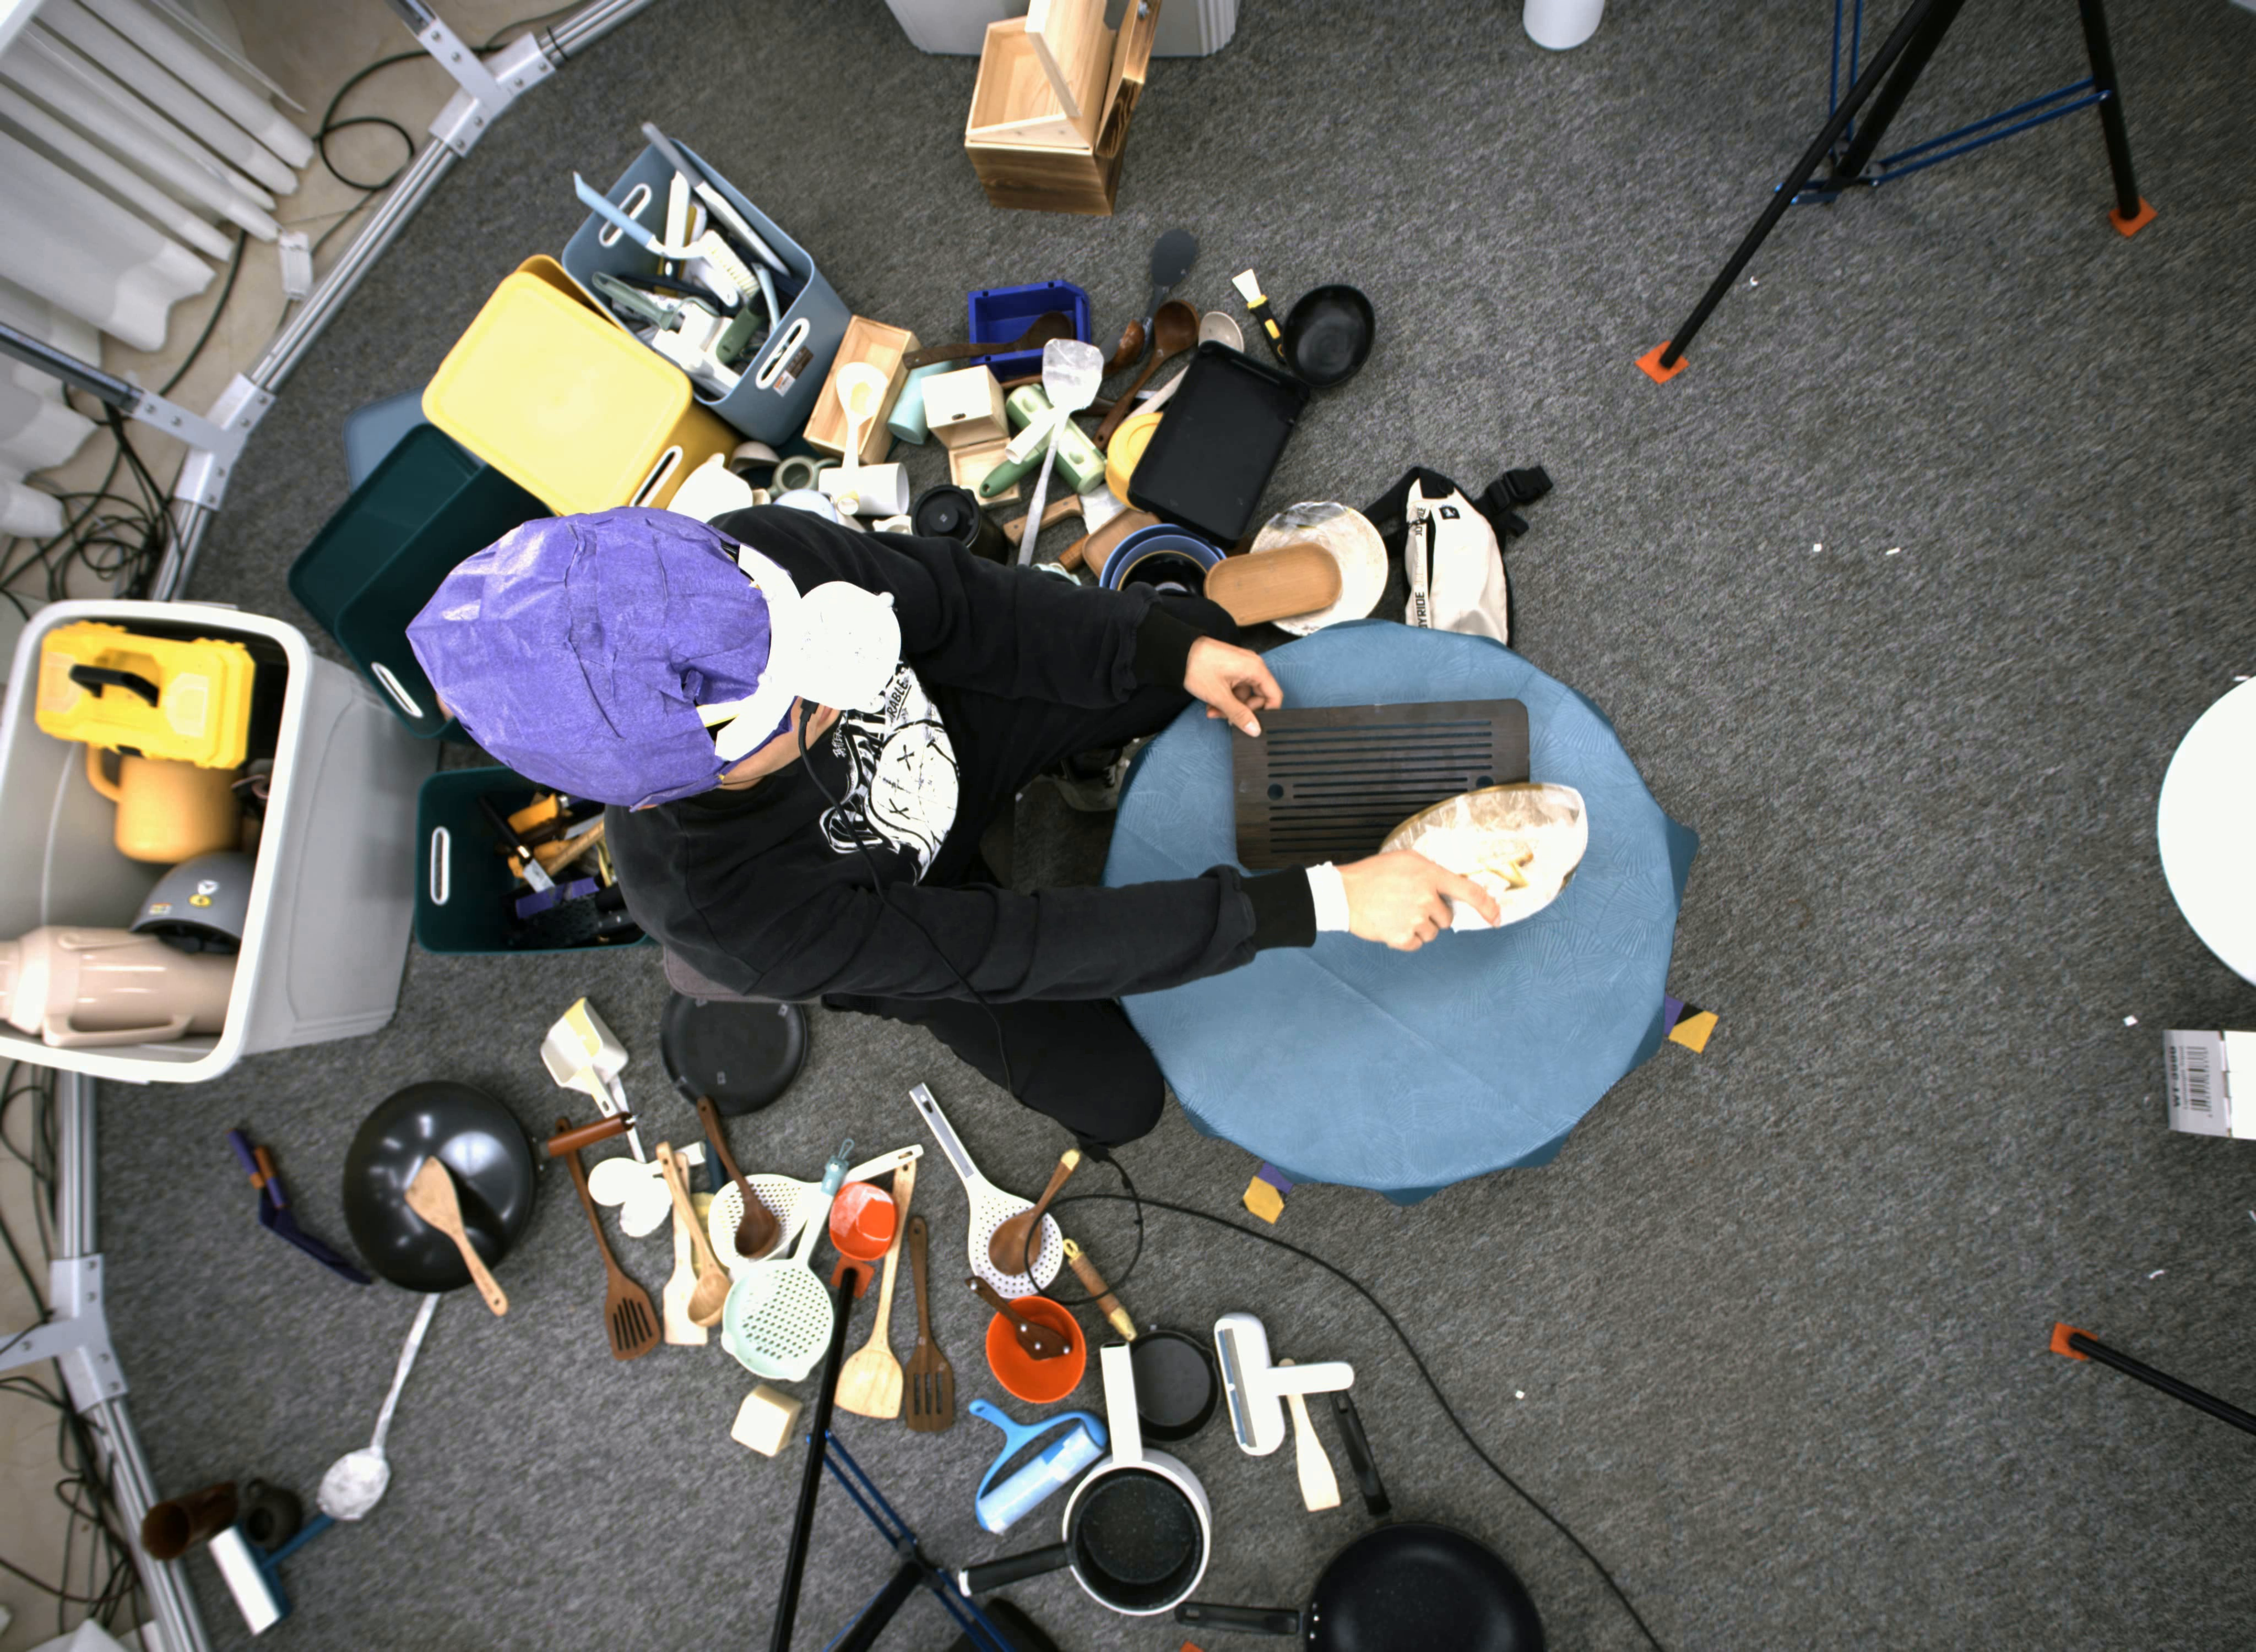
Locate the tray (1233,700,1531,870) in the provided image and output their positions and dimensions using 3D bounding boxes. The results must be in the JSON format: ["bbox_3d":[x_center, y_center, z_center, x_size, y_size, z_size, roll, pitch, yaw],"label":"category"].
[{"bbox_3d":[0.266,-0.043,1.446,0.307,0.018,0.171,-2,100,10],"label":"tray"}]

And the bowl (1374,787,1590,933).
[{"bbox_3d":[0.353,0.043,1.349,0.216,0.211,0.096,-19,109,7],"label":"bowl"}]
